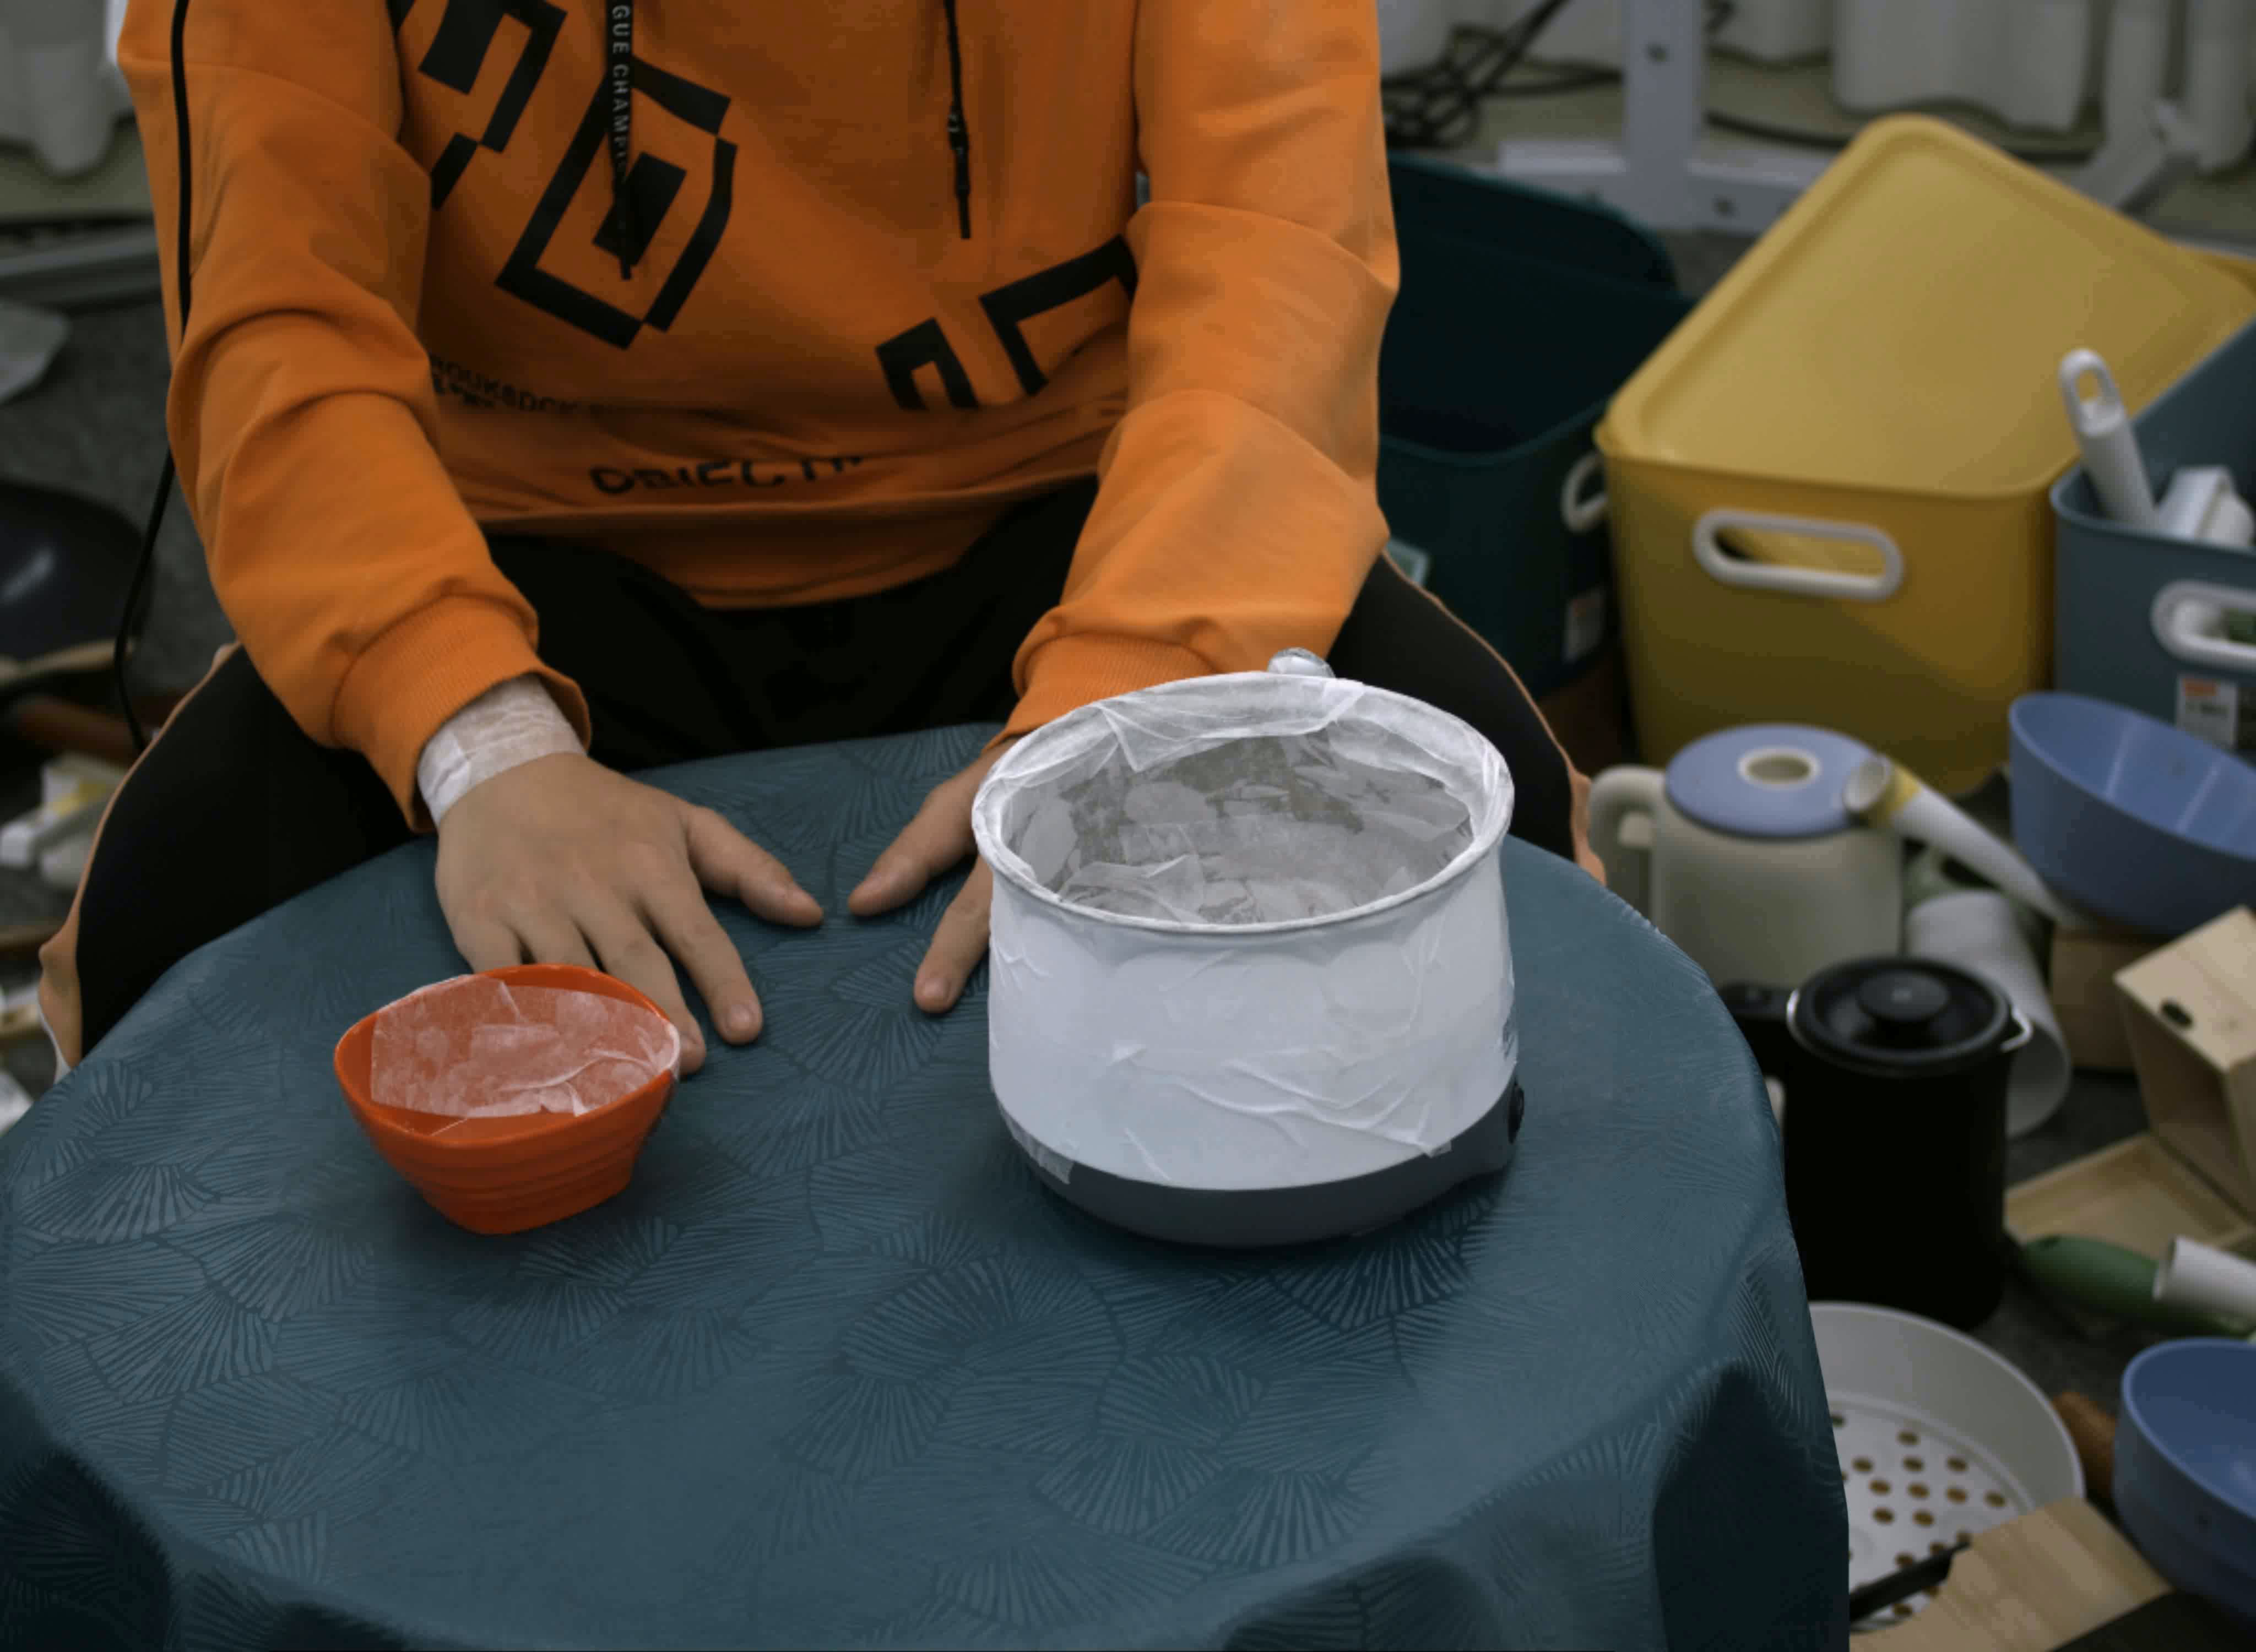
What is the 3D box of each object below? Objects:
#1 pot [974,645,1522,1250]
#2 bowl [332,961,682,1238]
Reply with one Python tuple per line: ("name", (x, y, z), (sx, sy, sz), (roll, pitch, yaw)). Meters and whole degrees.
("pot", (0.045, 0.033, 1.881), (0.177, 0.135, 0.238), (2, 28, 10))
("bowl", (-0.205, 0.096, 1.877), (0.118, 0.051, 0.121), (-3, 28, 2))
